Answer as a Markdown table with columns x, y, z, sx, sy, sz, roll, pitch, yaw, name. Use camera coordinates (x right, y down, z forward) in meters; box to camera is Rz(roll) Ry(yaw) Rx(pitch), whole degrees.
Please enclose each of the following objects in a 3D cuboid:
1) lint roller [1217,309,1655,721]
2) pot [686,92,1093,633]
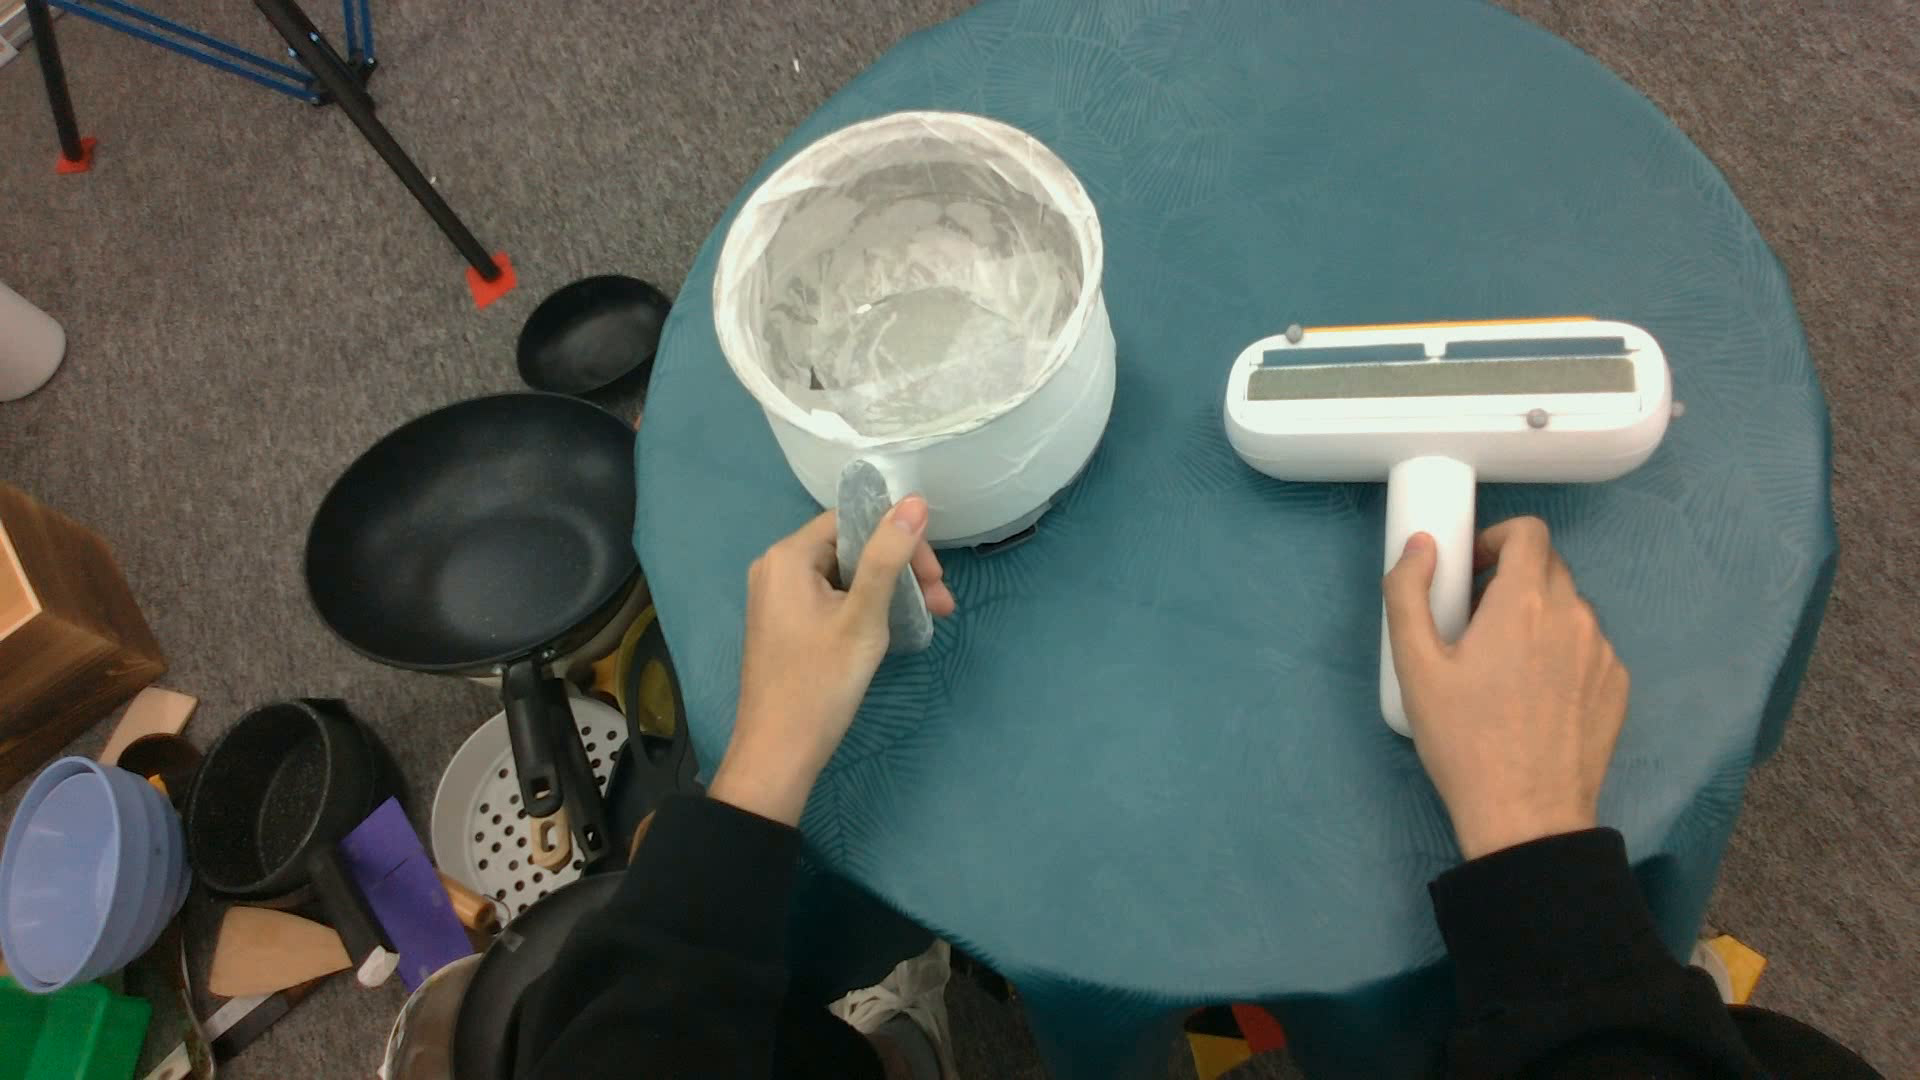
| x | y | z | sx | sy | sz | roll | pitch | yaw | name |
| --- | --- | --- | --- | --- | --- | --- | --- | --- | --- |
| 0.206 | -0.015 | 0.632 | 0.192 | 0.074 | 0.193 | 7 | 69 | 19 | lint roller |
| -0.030 | -0.079 | 0.657 | 0.178 | 0.136 | 0.234 | 4 | 66 | 12 | pot |
